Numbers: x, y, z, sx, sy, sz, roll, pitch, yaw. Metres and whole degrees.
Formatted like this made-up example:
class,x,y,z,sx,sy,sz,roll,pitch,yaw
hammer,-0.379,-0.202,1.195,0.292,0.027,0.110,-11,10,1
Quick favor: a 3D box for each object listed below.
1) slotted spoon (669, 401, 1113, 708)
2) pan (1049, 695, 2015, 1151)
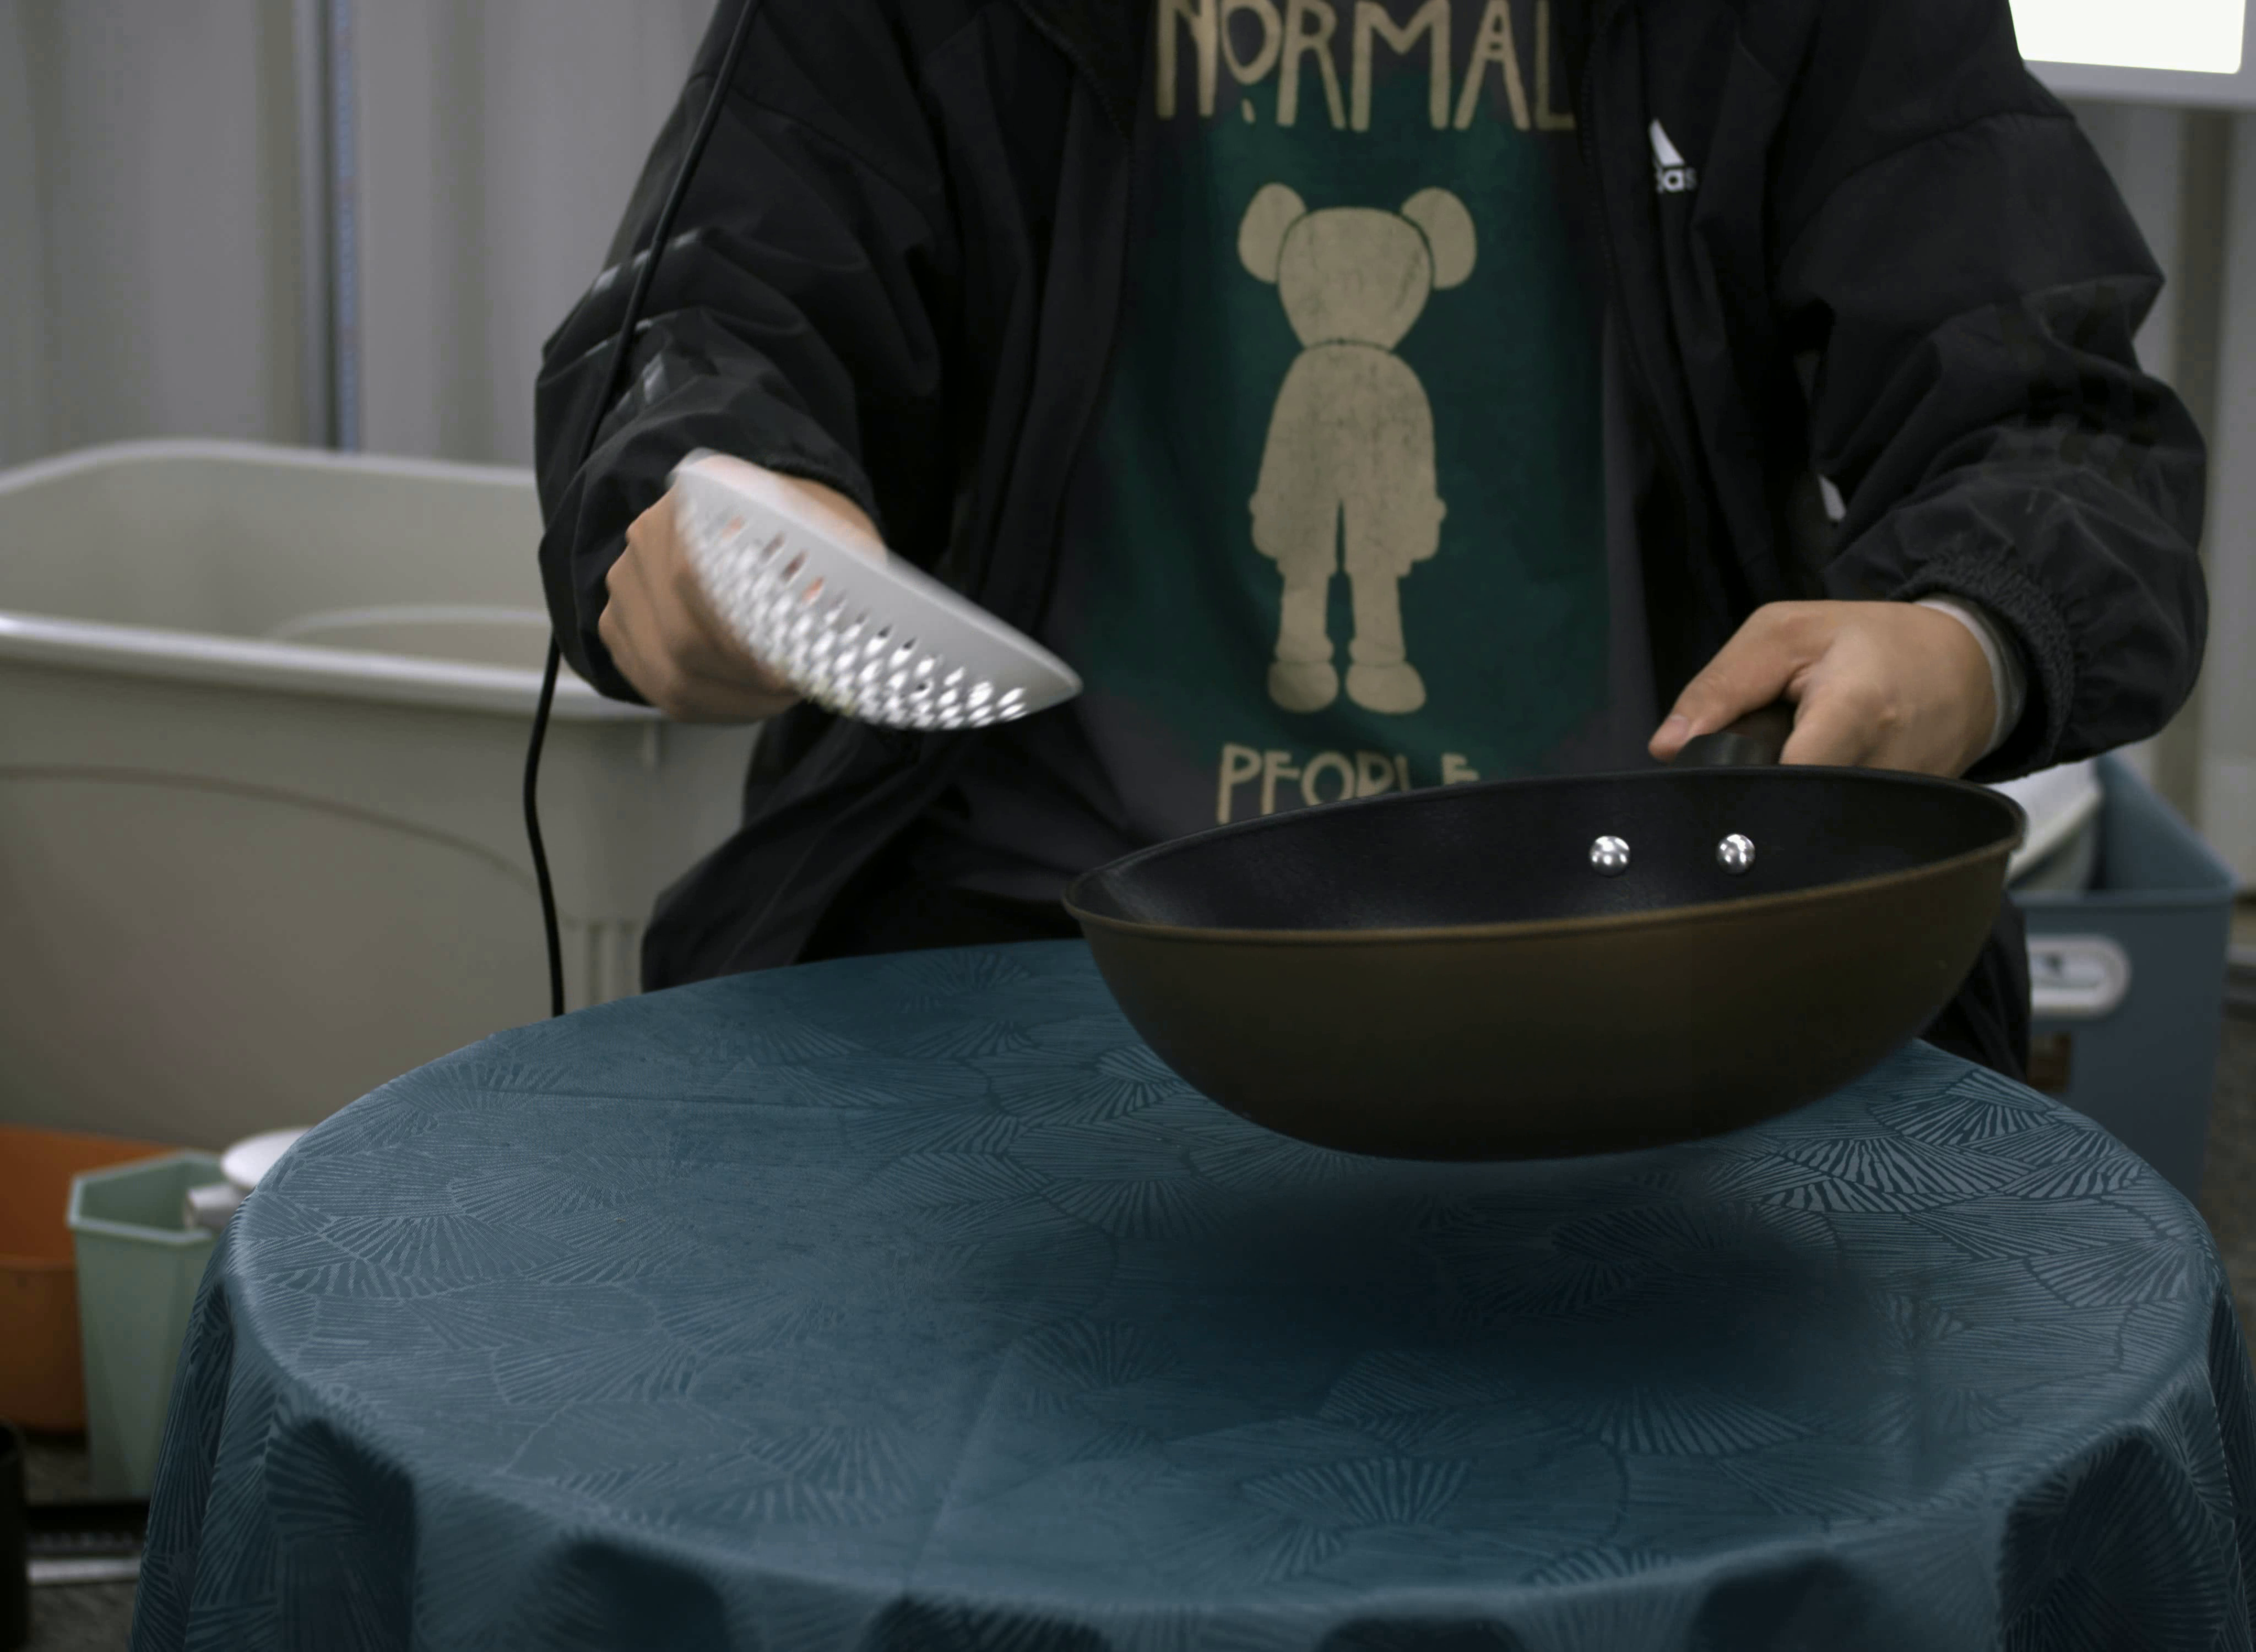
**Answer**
class,x,y,z,sx,sy,sz,roll,pitch,yaw
slotted spoon,-0.097,-0.065,1.630,0.137,0.050,0.346,34,-6,-10
pan,0.156,0.027,1.631,0.285,0.087,0.465,-3,8,23
